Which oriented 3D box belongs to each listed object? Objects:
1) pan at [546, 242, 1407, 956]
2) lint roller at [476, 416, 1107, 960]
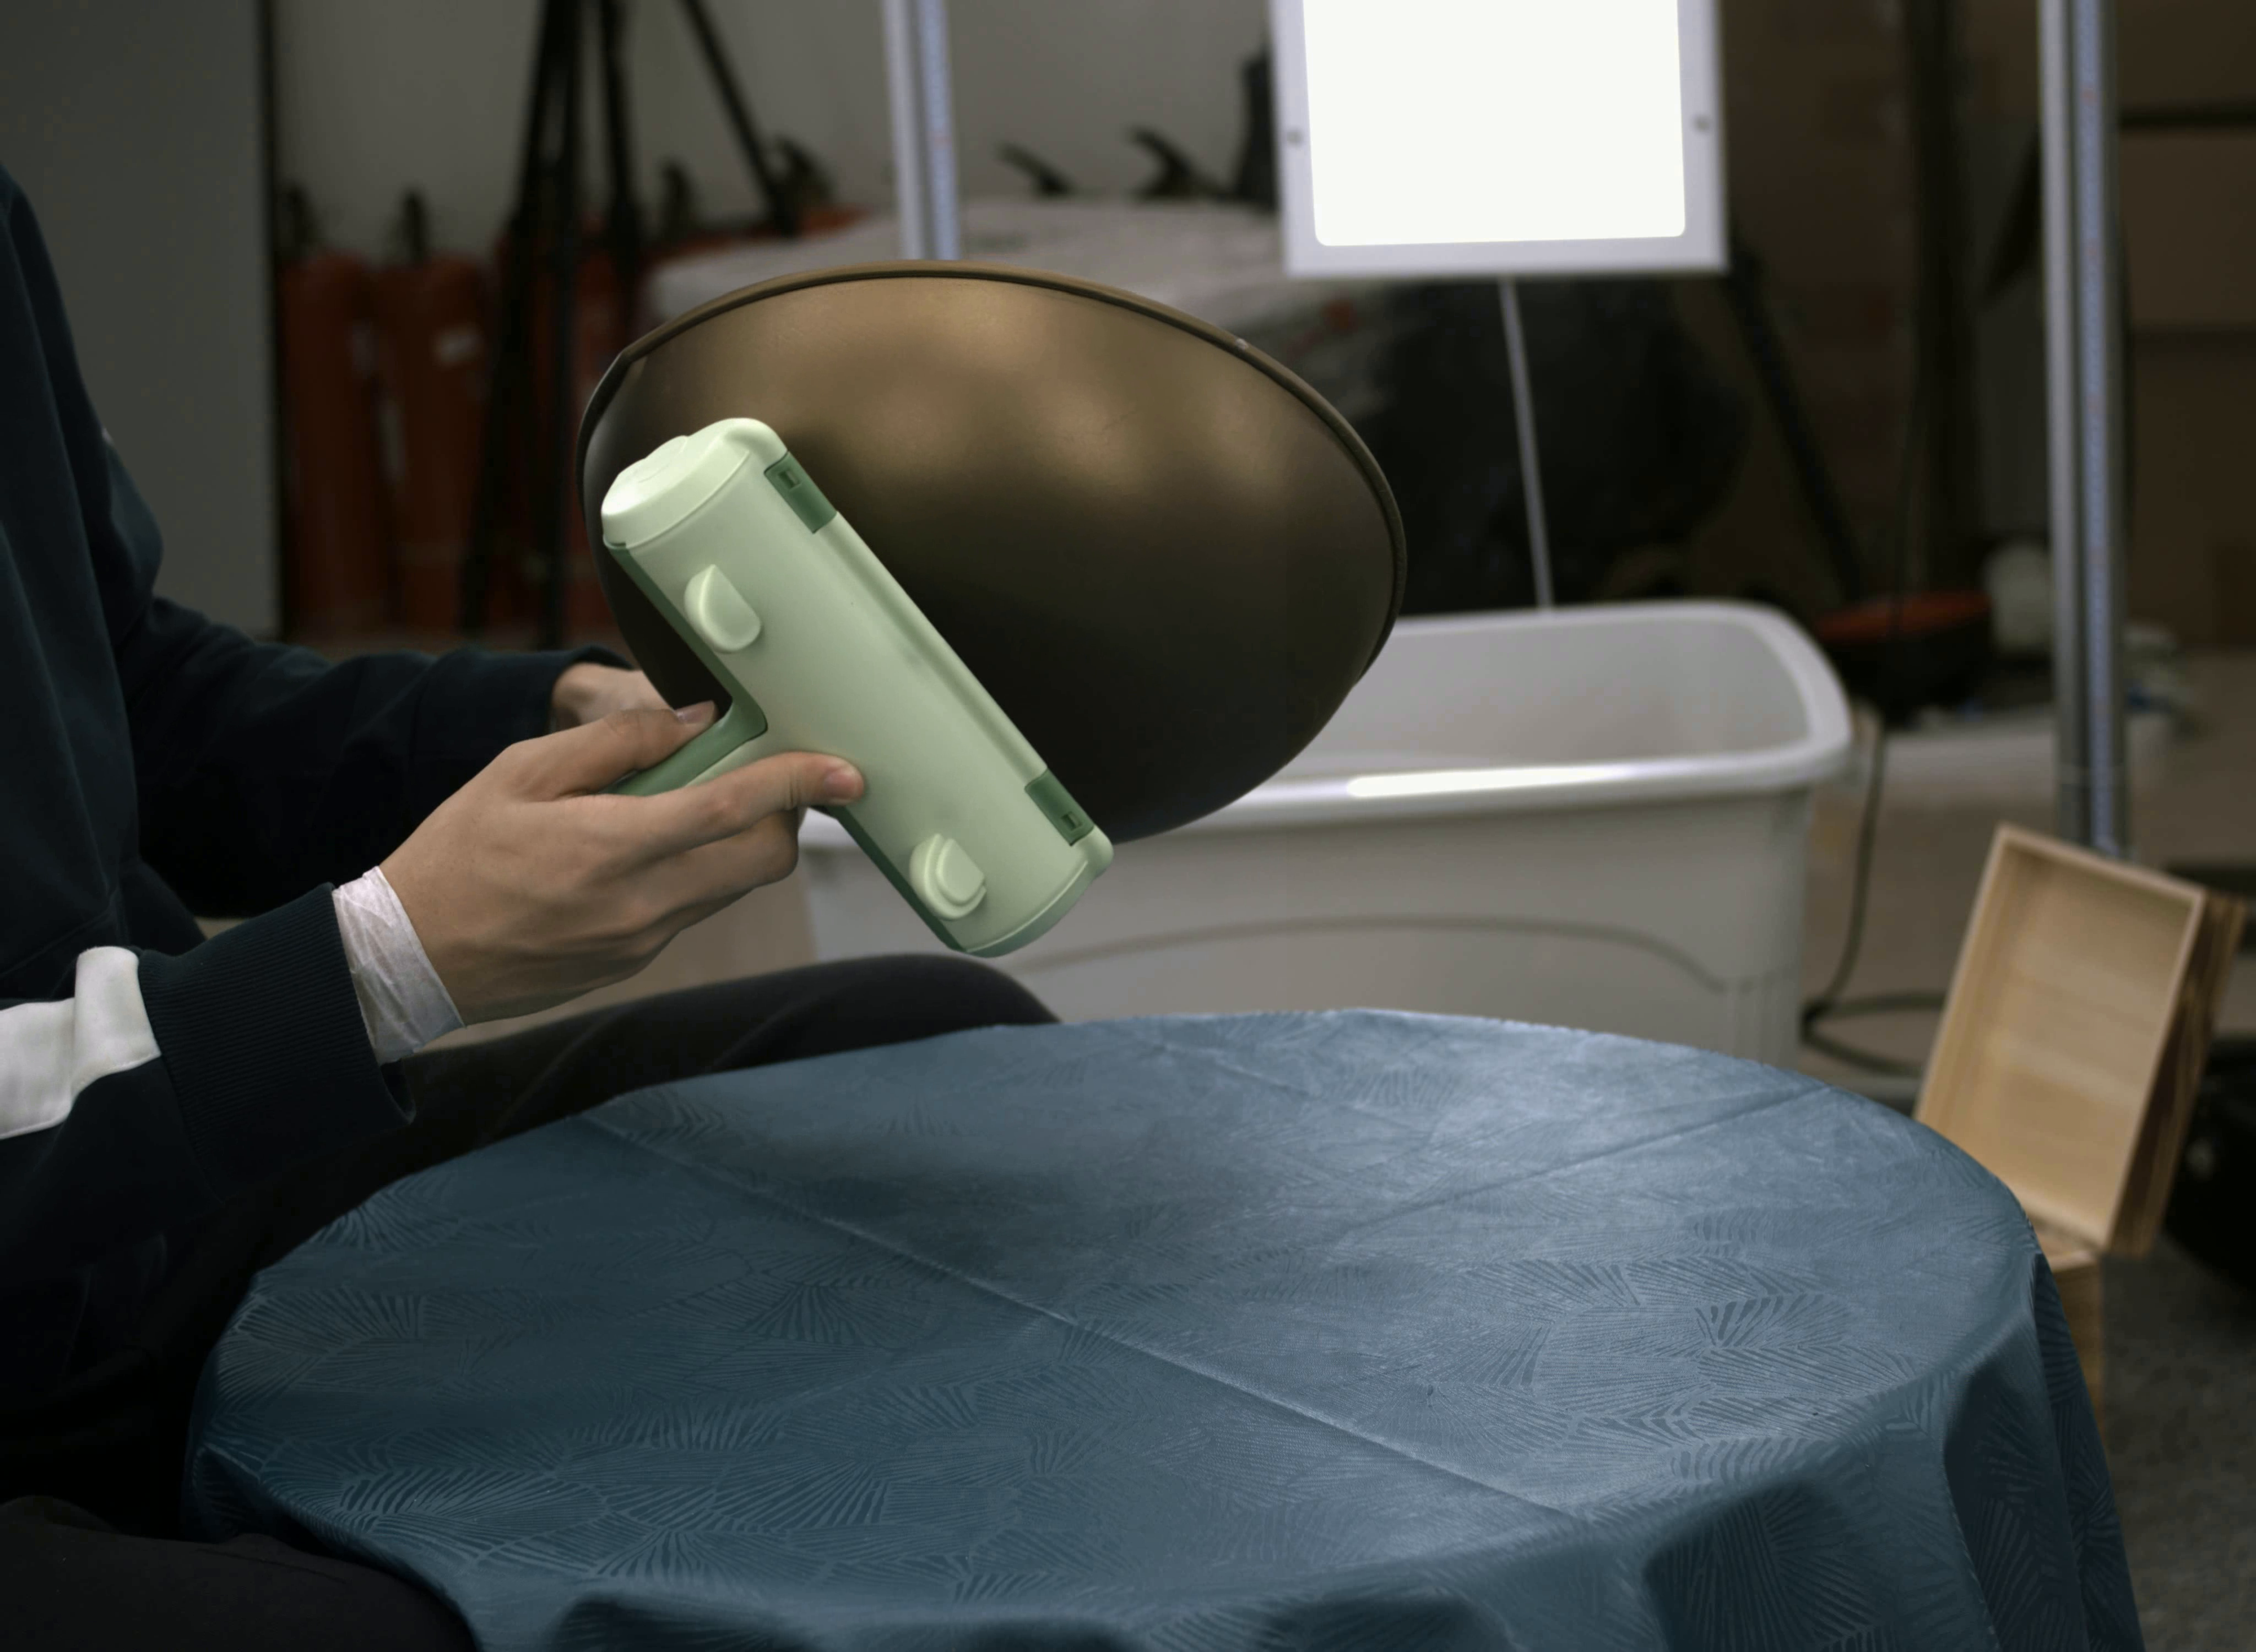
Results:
[{"bbox_3d":[-0.101,-0.032,1.888,0.284,0.086,0.473,26,-37,-22],"label":"pan"},{"bbox_3d":[-0.133,-0.007,1.744,0.184,0.197,0.082,-35,22,10],"label":"lint roller"}]
